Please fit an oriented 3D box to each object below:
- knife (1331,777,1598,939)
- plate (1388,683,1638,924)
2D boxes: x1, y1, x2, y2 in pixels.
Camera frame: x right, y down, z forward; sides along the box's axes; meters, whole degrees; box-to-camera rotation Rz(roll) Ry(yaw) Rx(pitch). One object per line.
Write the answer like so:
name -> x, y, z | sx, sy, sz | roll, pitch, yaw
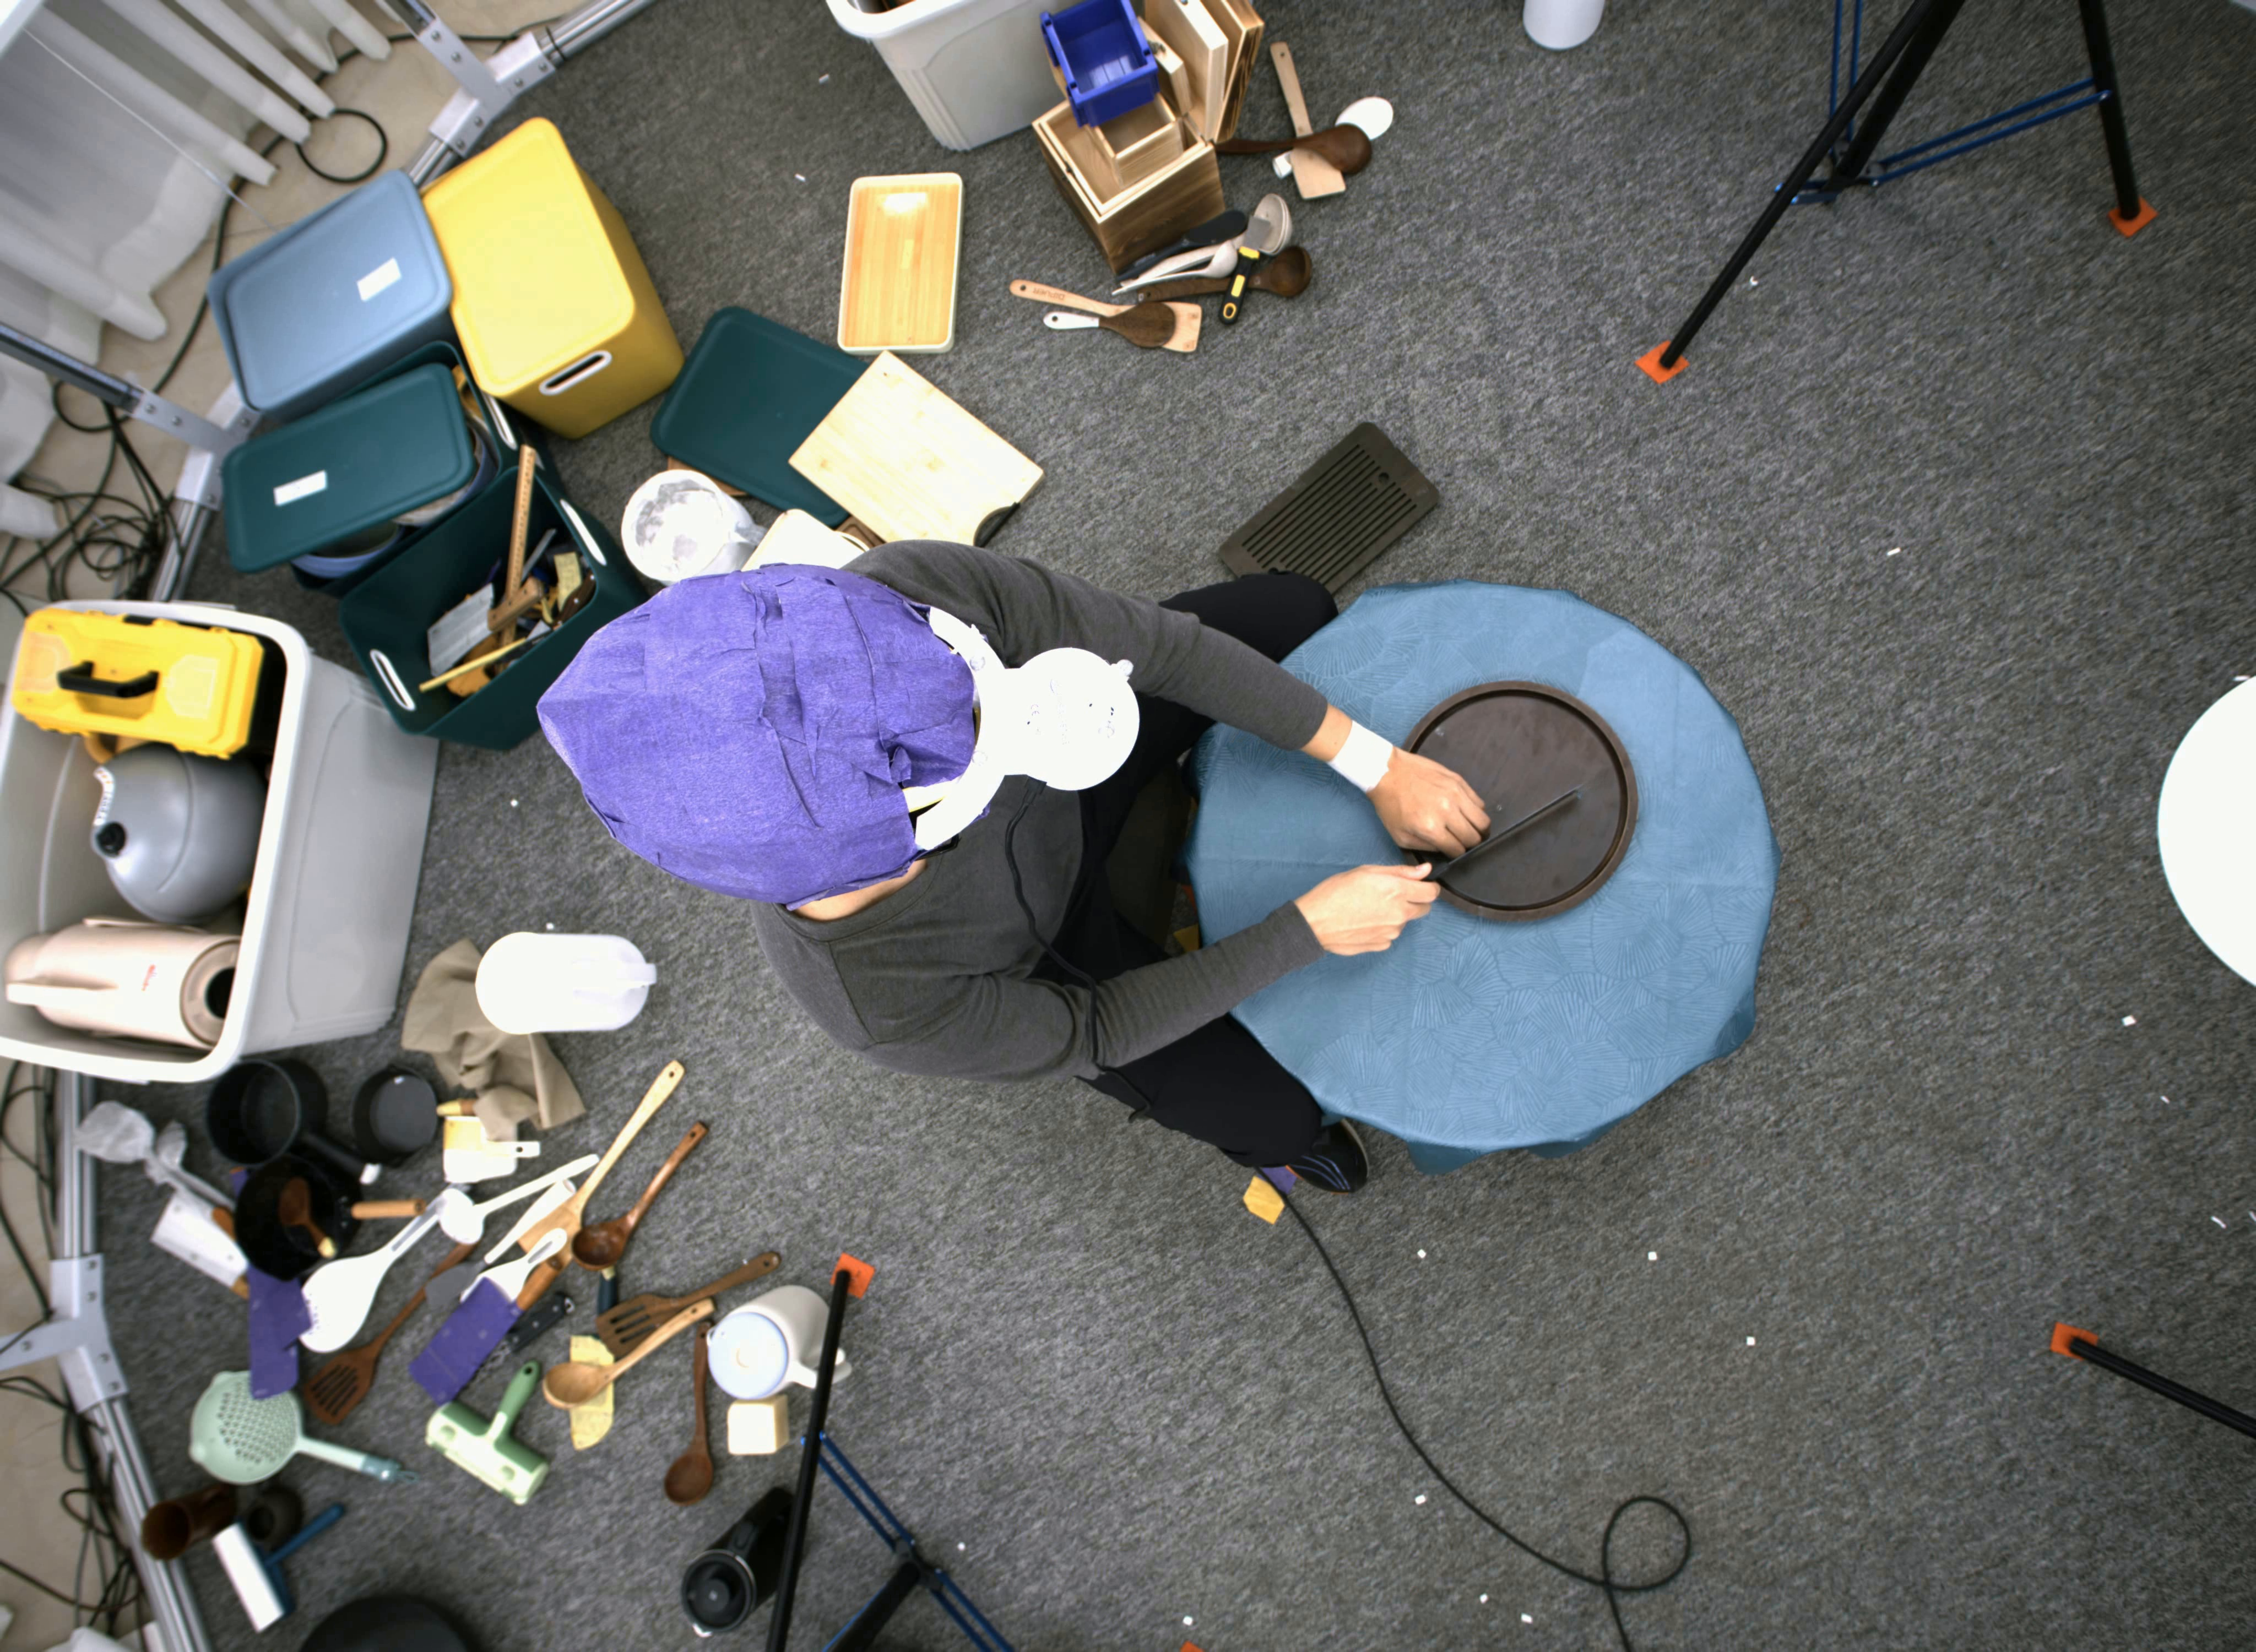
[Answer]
knife -> 0.336, 0.029, 1.375 | 0.303, 0.081, 0.020 | -30, 78, 3
plate -> 0.399, -0.027, 1.430 | 0.256, 0.029, 0.254 | -1, 88, 10
